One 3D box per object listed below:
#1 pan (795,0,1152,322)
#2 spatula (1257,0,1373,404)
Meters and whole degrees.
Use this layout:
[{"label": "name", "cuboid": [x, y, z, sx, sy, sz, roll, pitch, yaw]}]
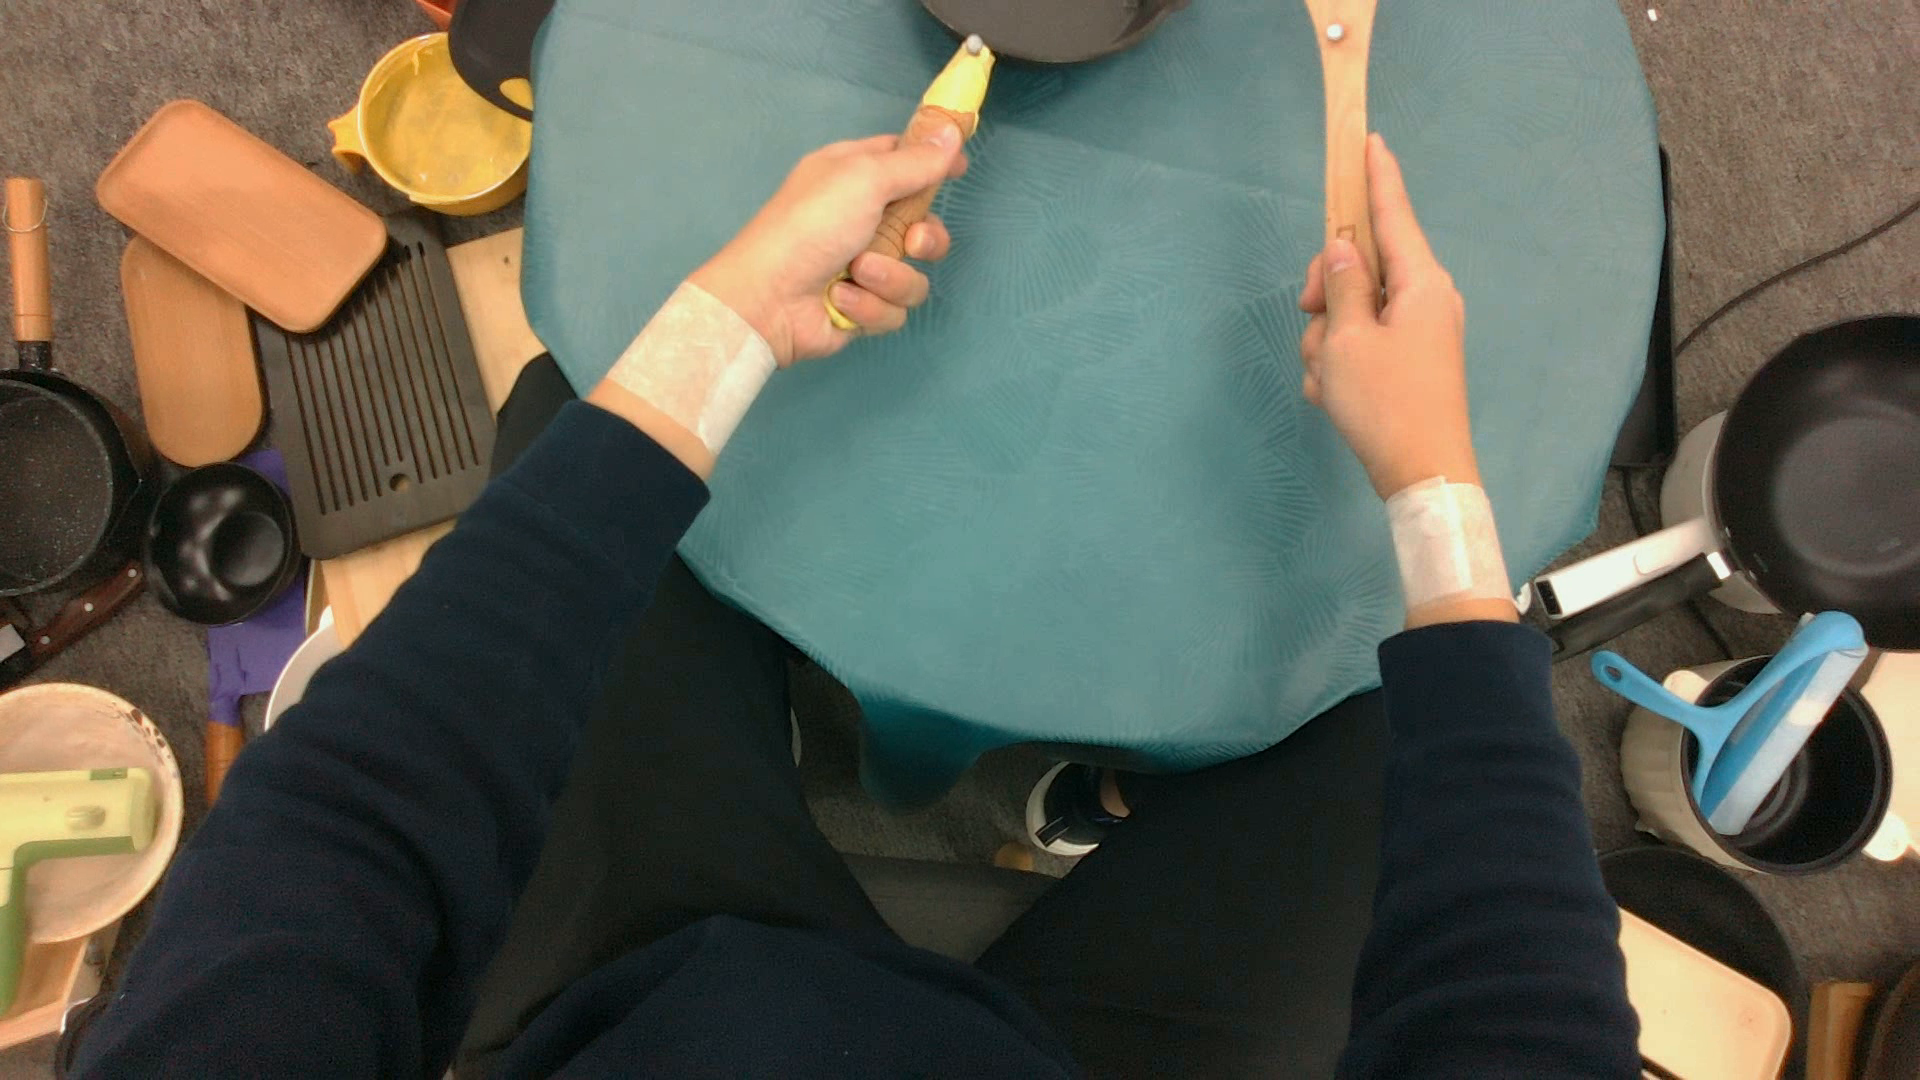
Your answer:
[{"label": "pan", "cuboid": [-0.010, -0.236, 0.670, 0.169, 0.049, 0.325, 25, 69, -2]}, {"label": "spatula", "cuboid": [0.153, -0.224, 0.640, 0.016, 0.079, 0.327, -13, 94, -46]}]
